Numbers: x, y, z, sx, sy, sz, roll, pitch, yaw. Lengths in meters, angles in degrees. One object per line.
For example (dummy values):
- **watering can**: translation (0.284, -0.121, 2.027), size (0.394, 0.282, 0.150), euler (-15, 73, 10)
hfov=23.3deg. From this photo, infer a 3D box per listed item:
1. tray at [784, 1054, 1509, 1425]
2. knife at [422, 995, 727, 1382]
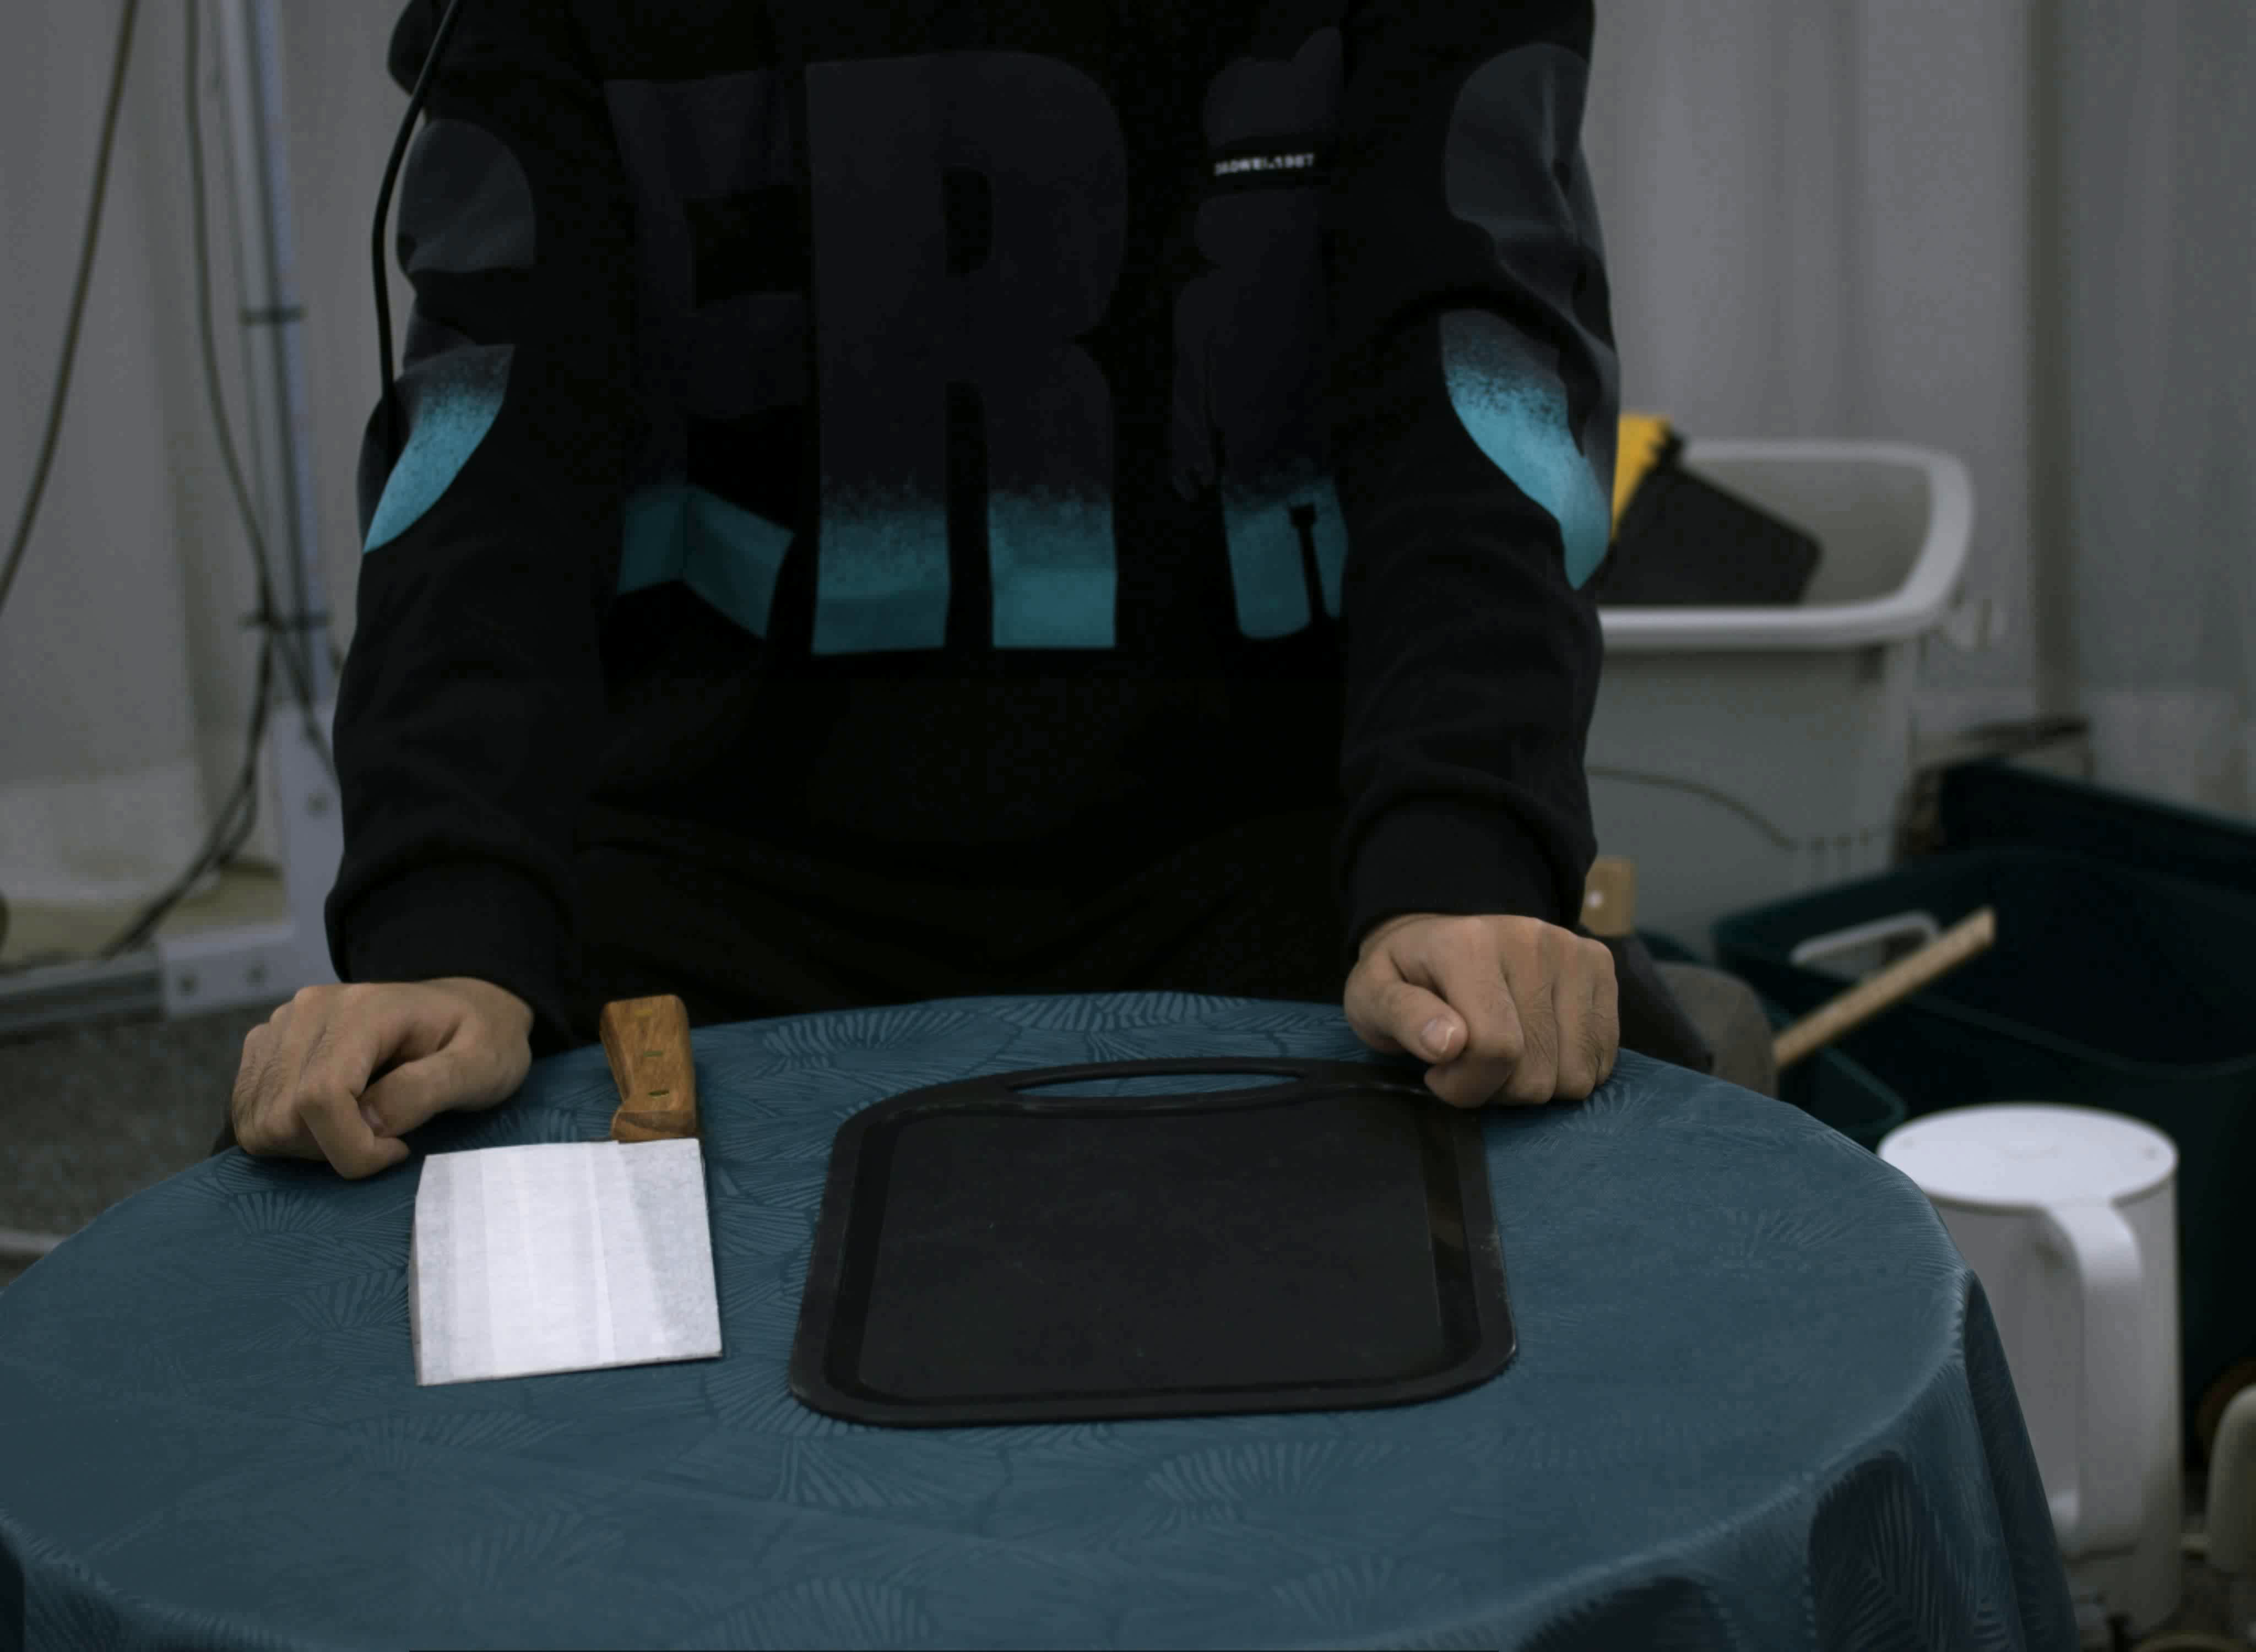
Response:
- **tray**: translation (0.007, 0.120, 1.679), size (0.210, 0.010, 0.327), euler (-2, 15, 2)
- **knife**: translation (-0.177, 0.113, 1.727), size (0.092, 0.021, 0.308), euler (-6, 17, -5)
